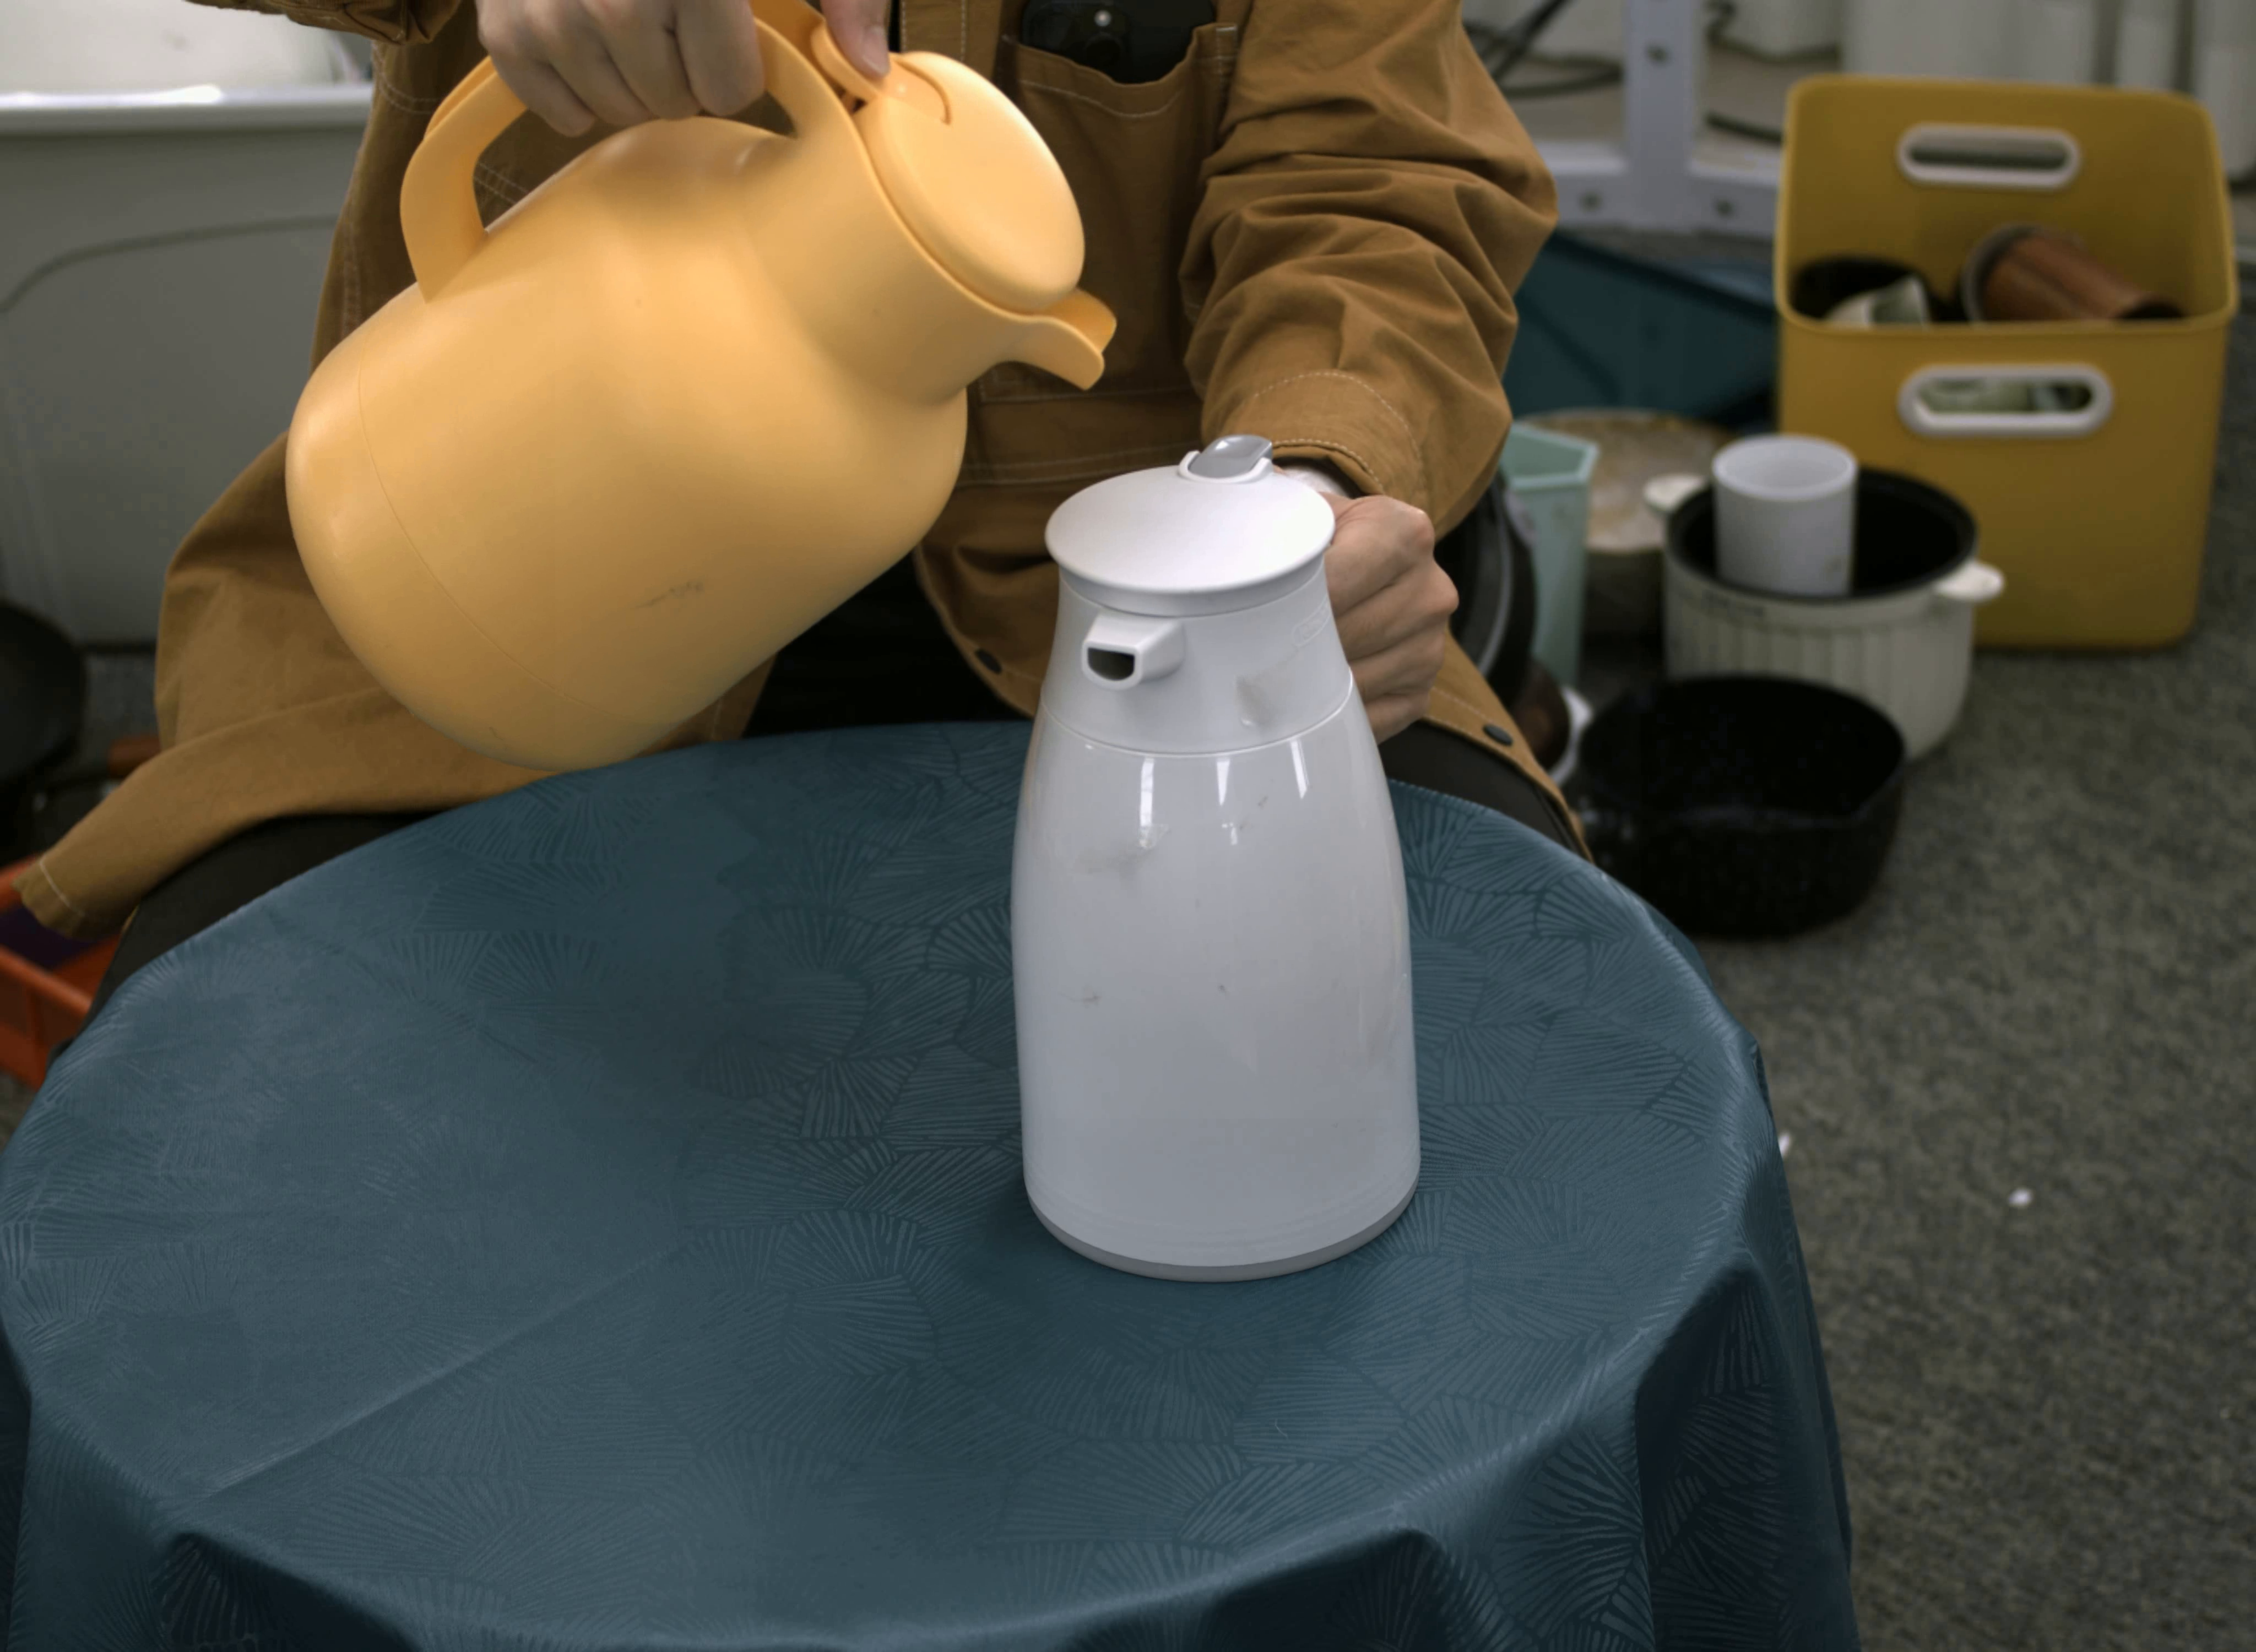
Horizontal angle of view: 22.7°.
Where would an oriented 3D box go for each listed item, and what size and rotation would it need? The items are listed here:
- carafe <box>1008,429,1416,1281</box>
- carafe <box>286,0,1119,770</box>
[{"bbox_3d":[0.031,-0.001,1.828,0.131,0.246,0.170,8,28,22],"label":"carafe"},{"bbox_3d":[-0.143,-0.153,1.756,0.257,0.201,0.166,-34,21,26],"label":"carafe"}]
